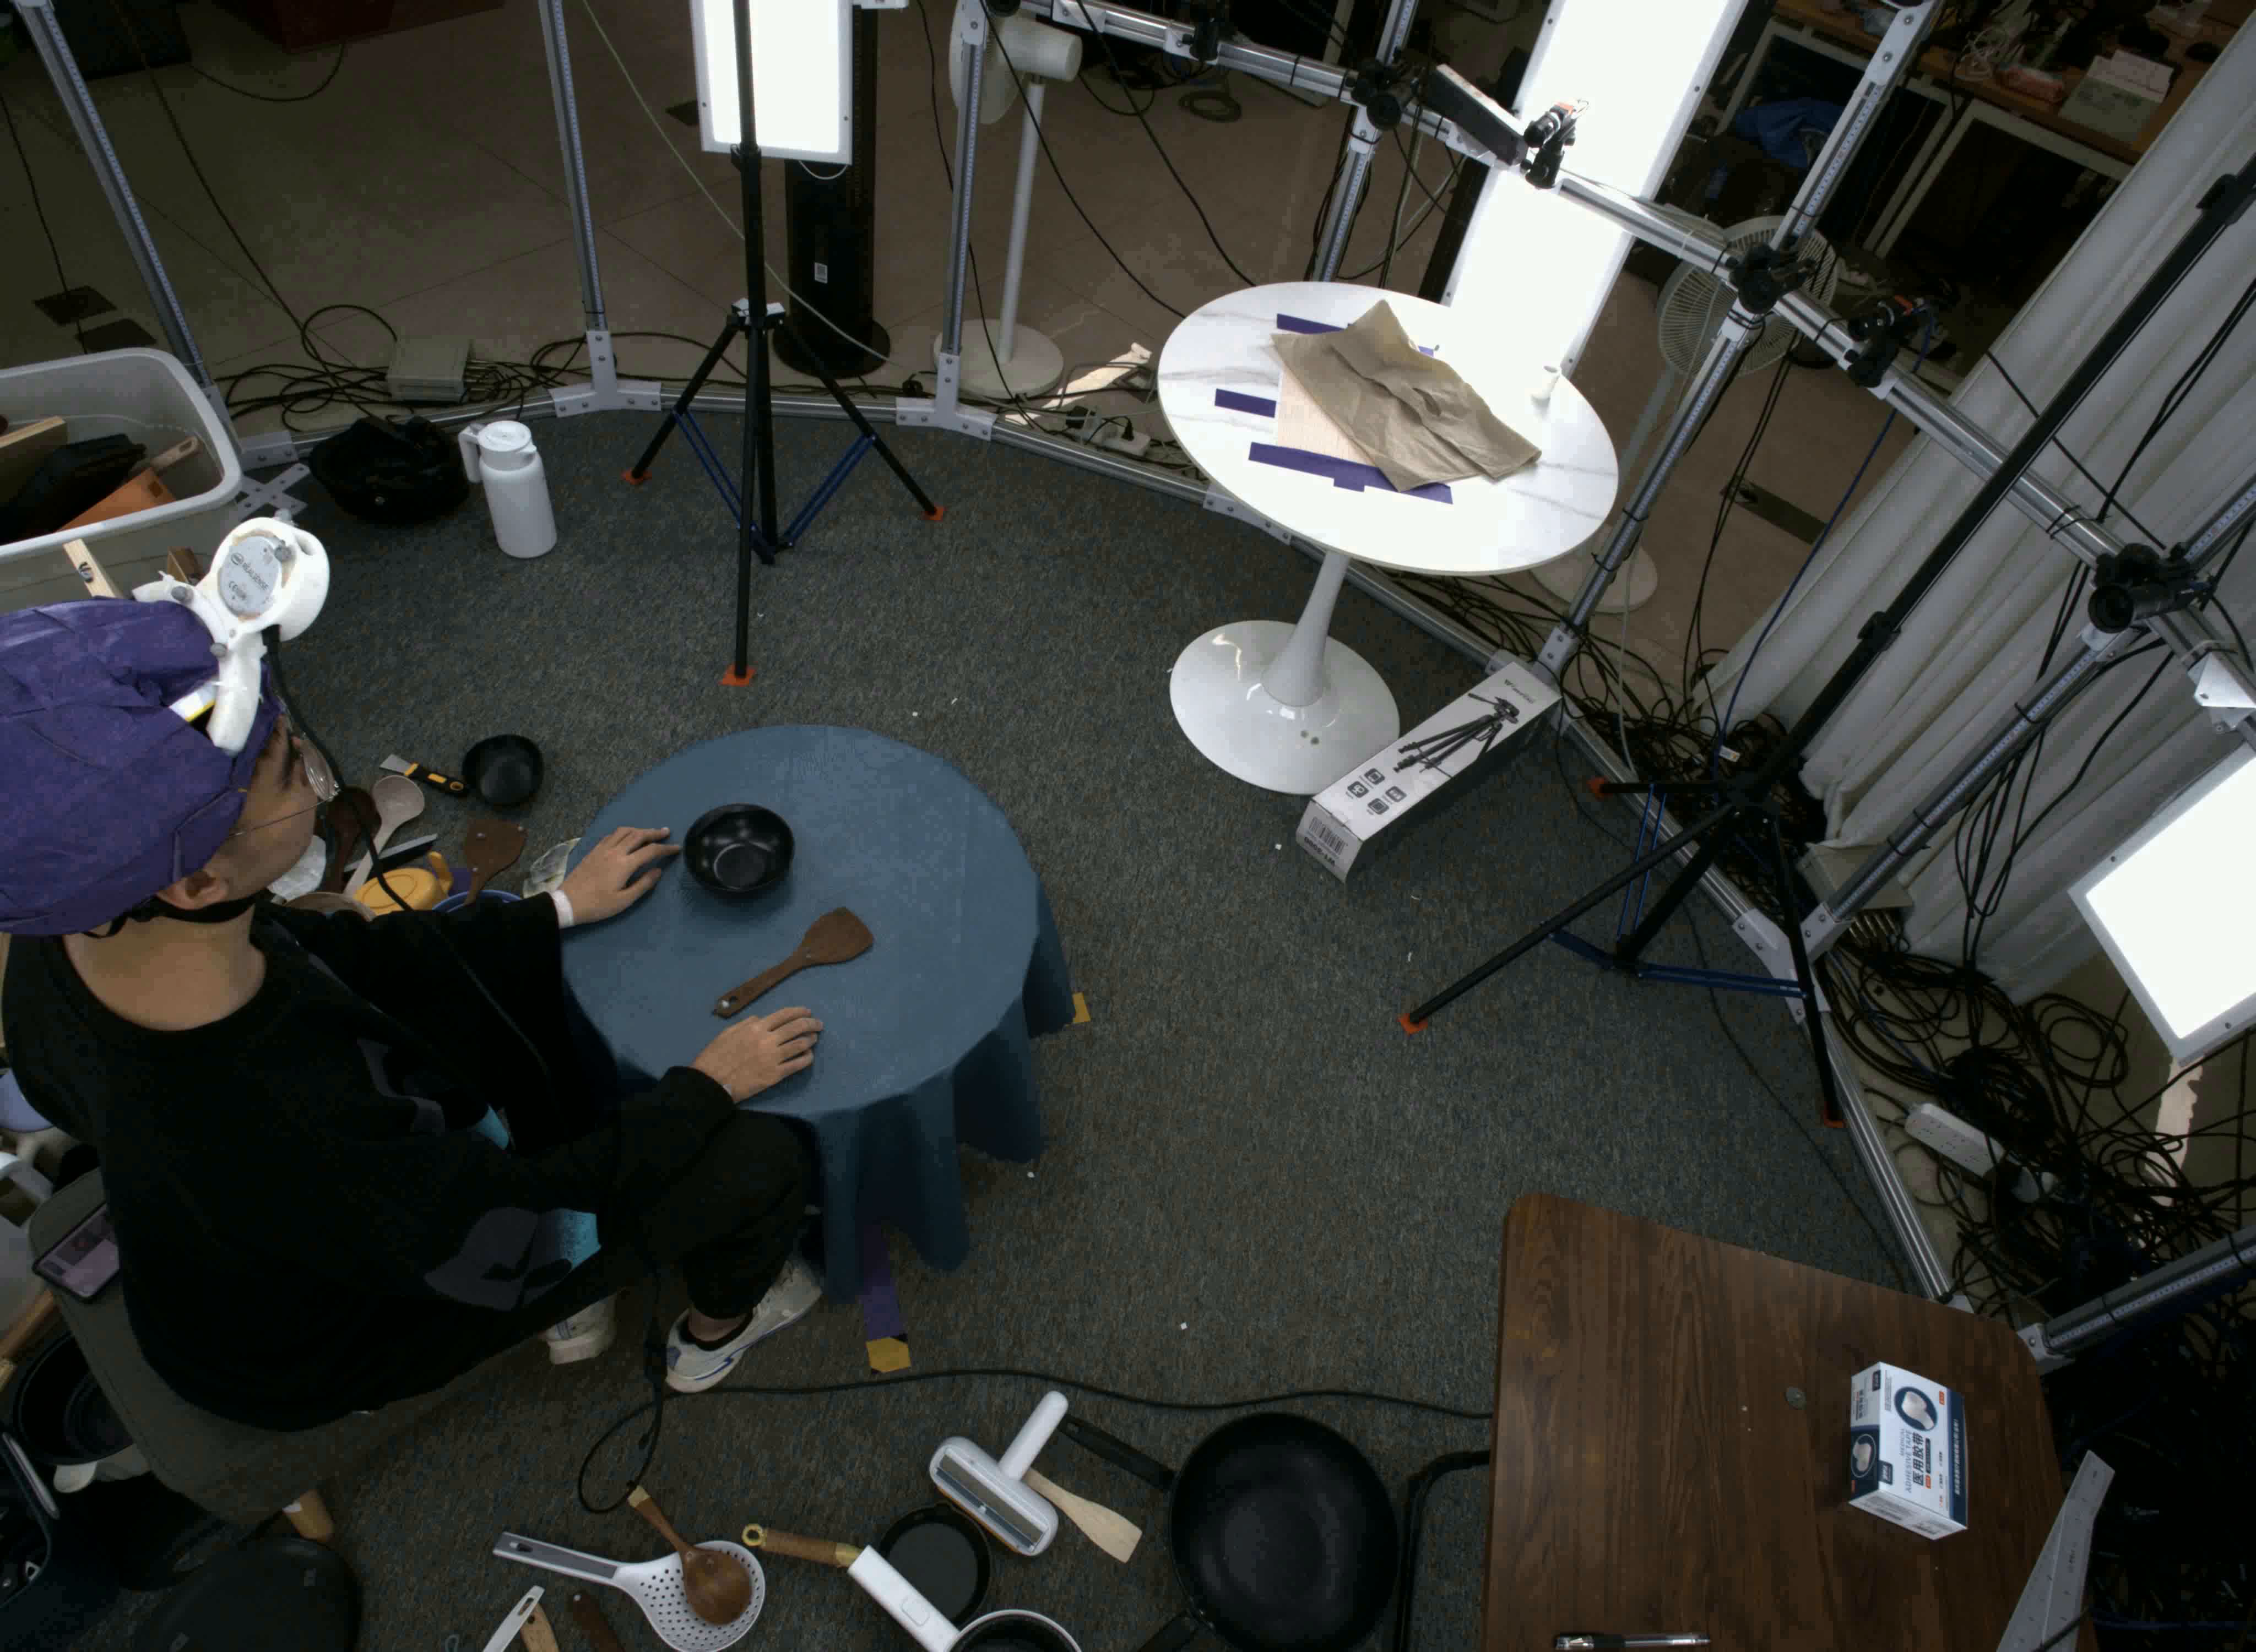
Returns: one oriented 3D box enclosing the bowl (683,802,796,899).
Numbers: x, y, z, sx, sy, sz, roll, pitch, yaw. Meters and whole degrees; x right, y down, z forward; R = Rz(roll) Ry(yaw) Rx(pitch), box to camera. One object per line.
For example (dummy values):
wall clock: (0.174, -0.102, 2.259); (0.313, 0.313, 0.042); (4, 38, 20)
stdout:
bowl: (-0.495, 0.038, 1.651); (0.140, 0.050, 0.137); (9, 54, -10)

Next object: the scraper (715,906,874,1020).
scraper: (-0.415, 0.171, 1.599); (0.212, 0.011, 0.074); (-34, 67, -32)
